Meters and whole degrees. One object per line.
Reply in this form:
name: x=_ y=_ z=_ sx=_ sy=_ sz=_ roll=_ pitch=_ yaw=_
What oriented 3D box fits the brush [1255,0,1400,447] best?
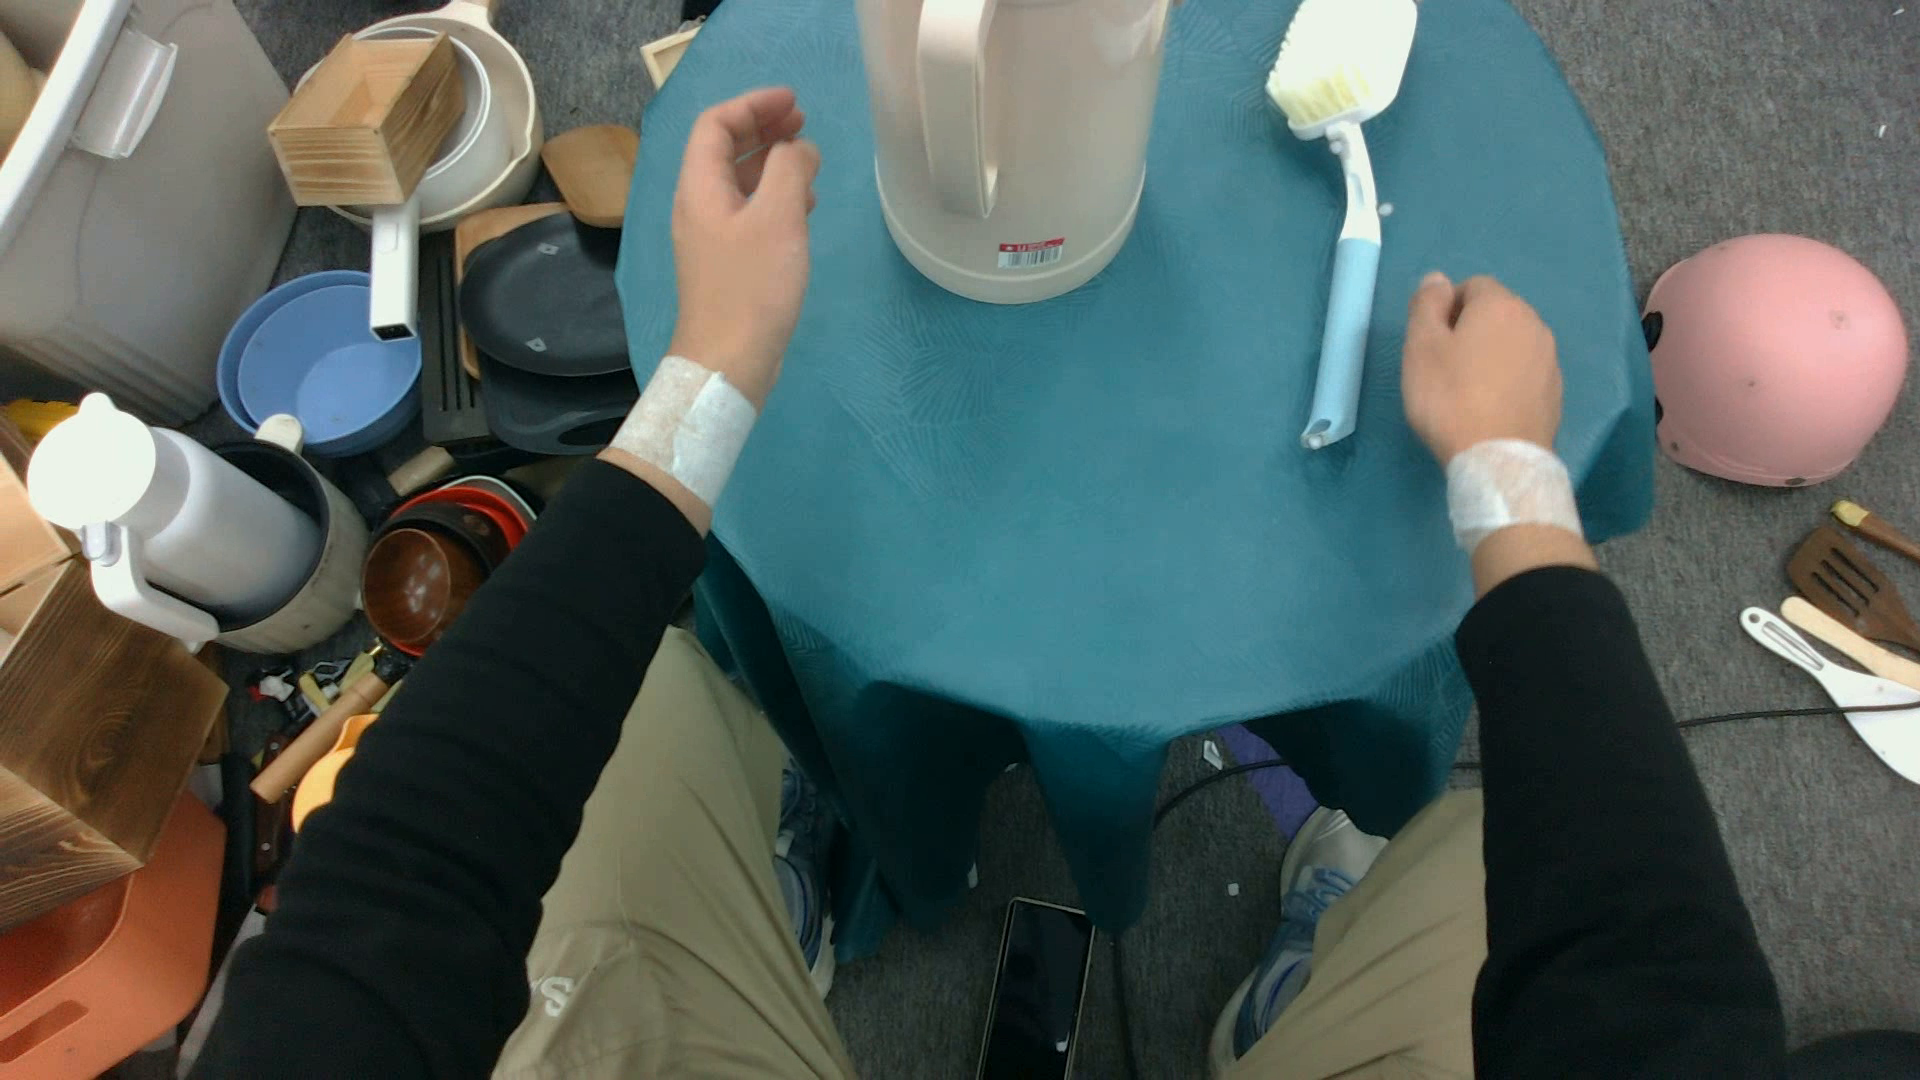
brush: x=0.206 y=-0.212 z=0.789 sx=0.084 sy=0.083 sz=0.326 roll=13 pitch=71 yaw=-1

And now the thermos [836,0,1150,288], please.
thermos: x=0.011 y=-0.267 z=0.644 sx=0.175 sy=0.405 sz=0.207 roll=13 pitch=73 yaw=3
